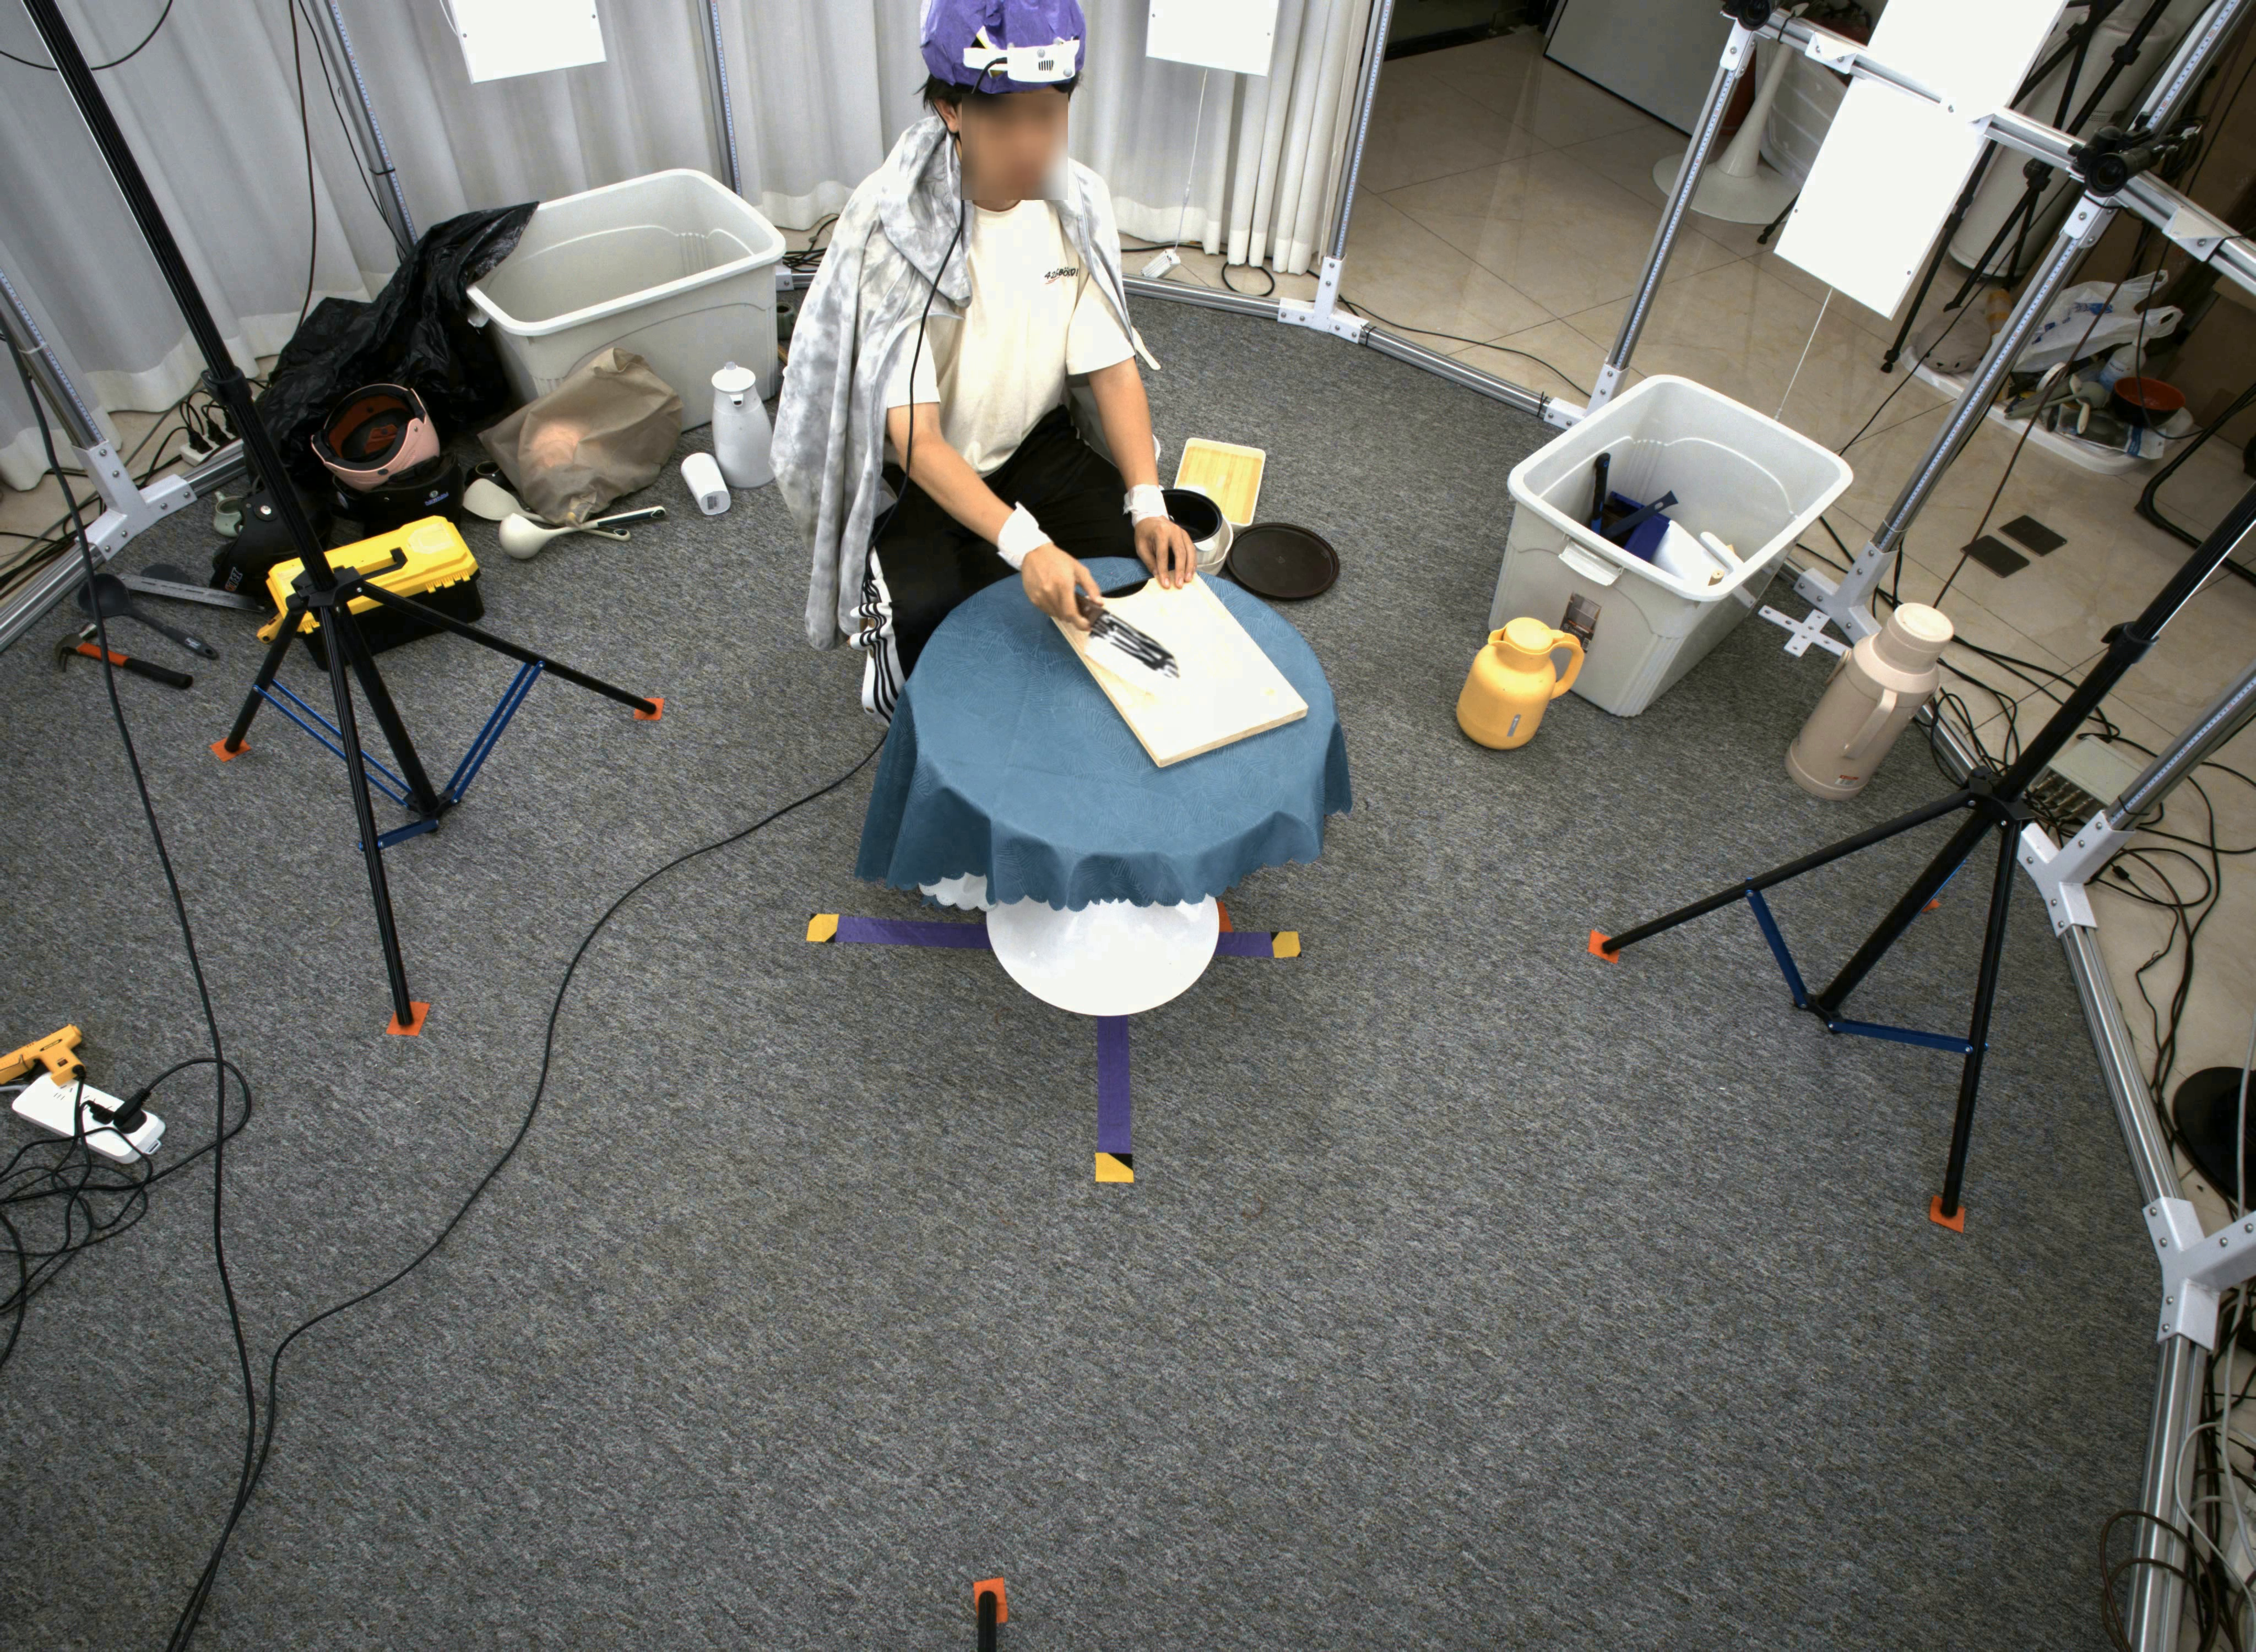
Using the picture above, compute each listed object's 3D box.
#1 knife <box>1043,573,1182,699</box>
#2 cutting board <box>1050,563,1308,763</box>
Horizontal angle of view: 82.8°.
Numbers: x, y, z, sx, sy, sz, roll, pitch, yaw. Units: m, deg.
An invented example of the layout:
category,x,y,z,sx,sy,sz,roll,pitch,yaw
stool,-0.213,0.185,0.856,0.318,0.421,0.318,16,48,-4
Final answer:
category,x,y,z,sx,sy,sz,roll,pitch,yaw
knife,-0.026,-0.269,1.812,0.304,0.023,0.068,37,98,30
cutting board,0.067,-0.245,1.869,0.251,0.023,0.356,-21,53,-21
